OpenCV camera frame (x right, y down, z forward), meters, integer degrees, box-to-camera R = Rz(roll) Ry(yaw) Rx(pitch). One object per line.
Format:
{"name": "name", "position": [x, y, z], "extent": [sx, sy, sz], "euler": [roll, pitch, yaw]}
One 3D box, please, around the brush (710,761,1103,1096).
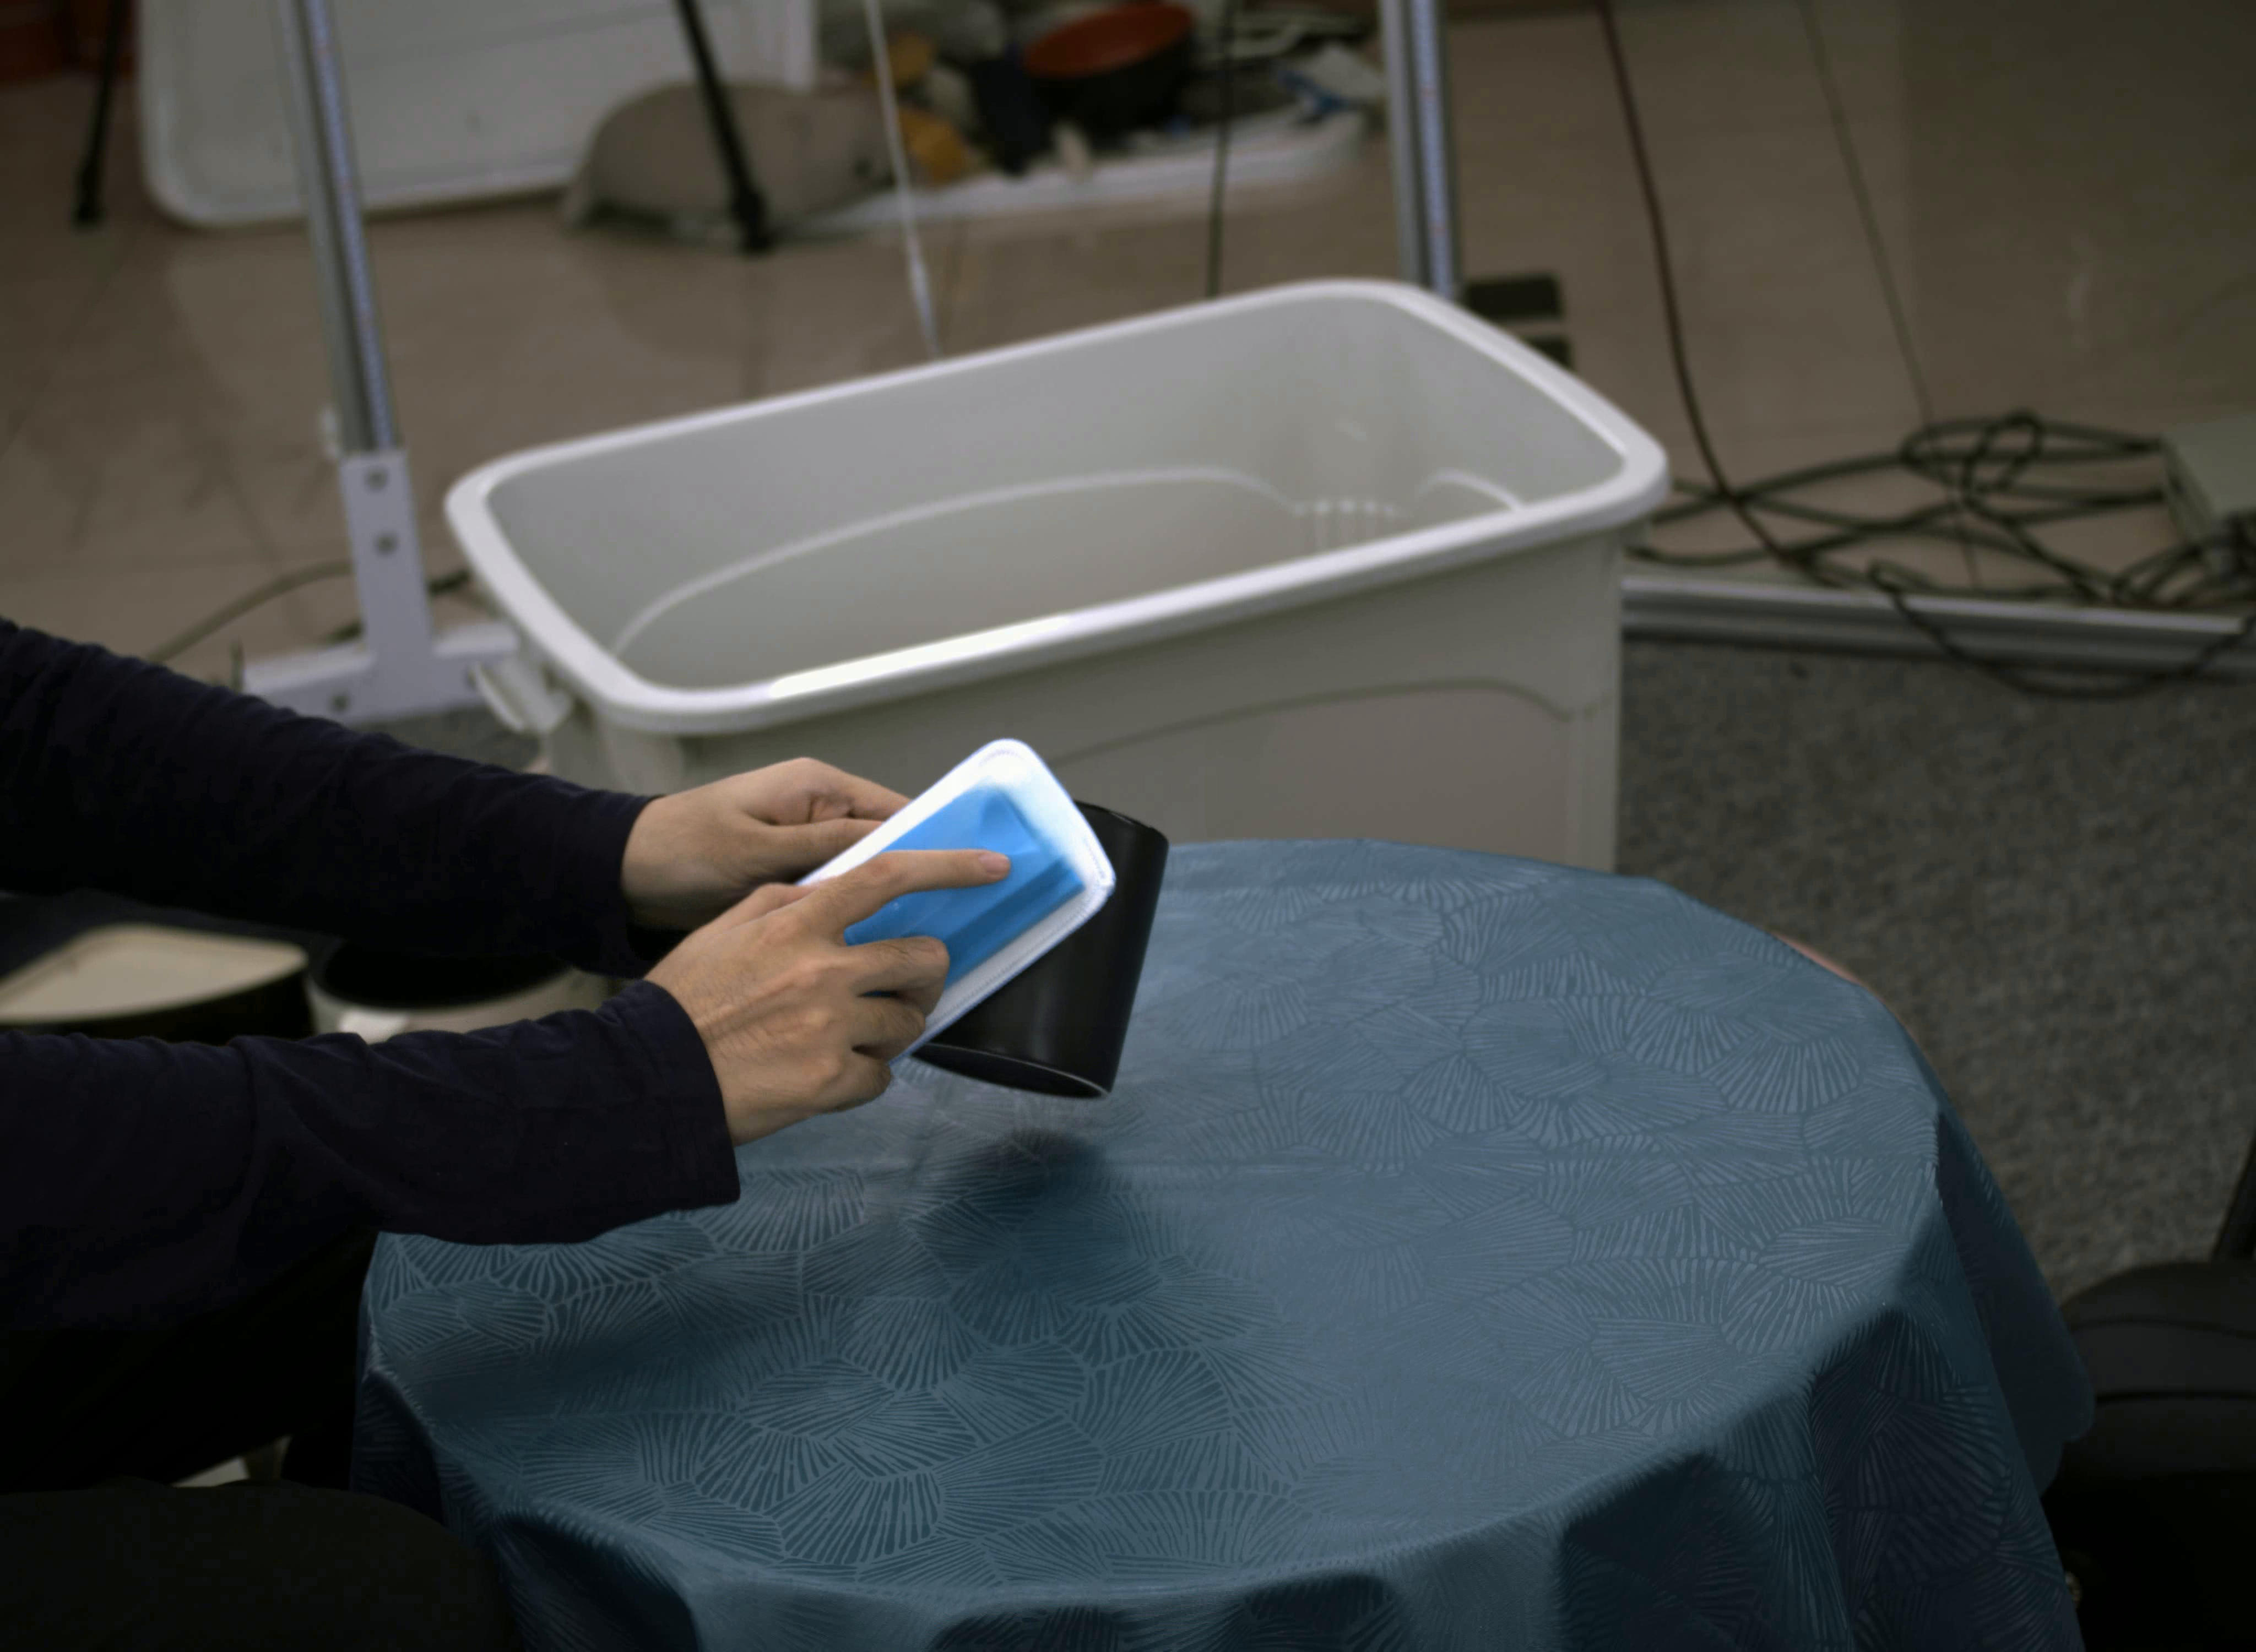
{"name": "brush", "position": [-0.086, 0.033, 2.117], "extent": [0.144, 0.056, 0.083], "euler": [-31, 73, 0]}

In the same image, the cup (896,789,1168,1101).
{"name": "cup", "position": [-0.053, 0.043, 2.182], "extent": [0.123, 0.105, 0.089], "euler": [9, -7, 5]}
